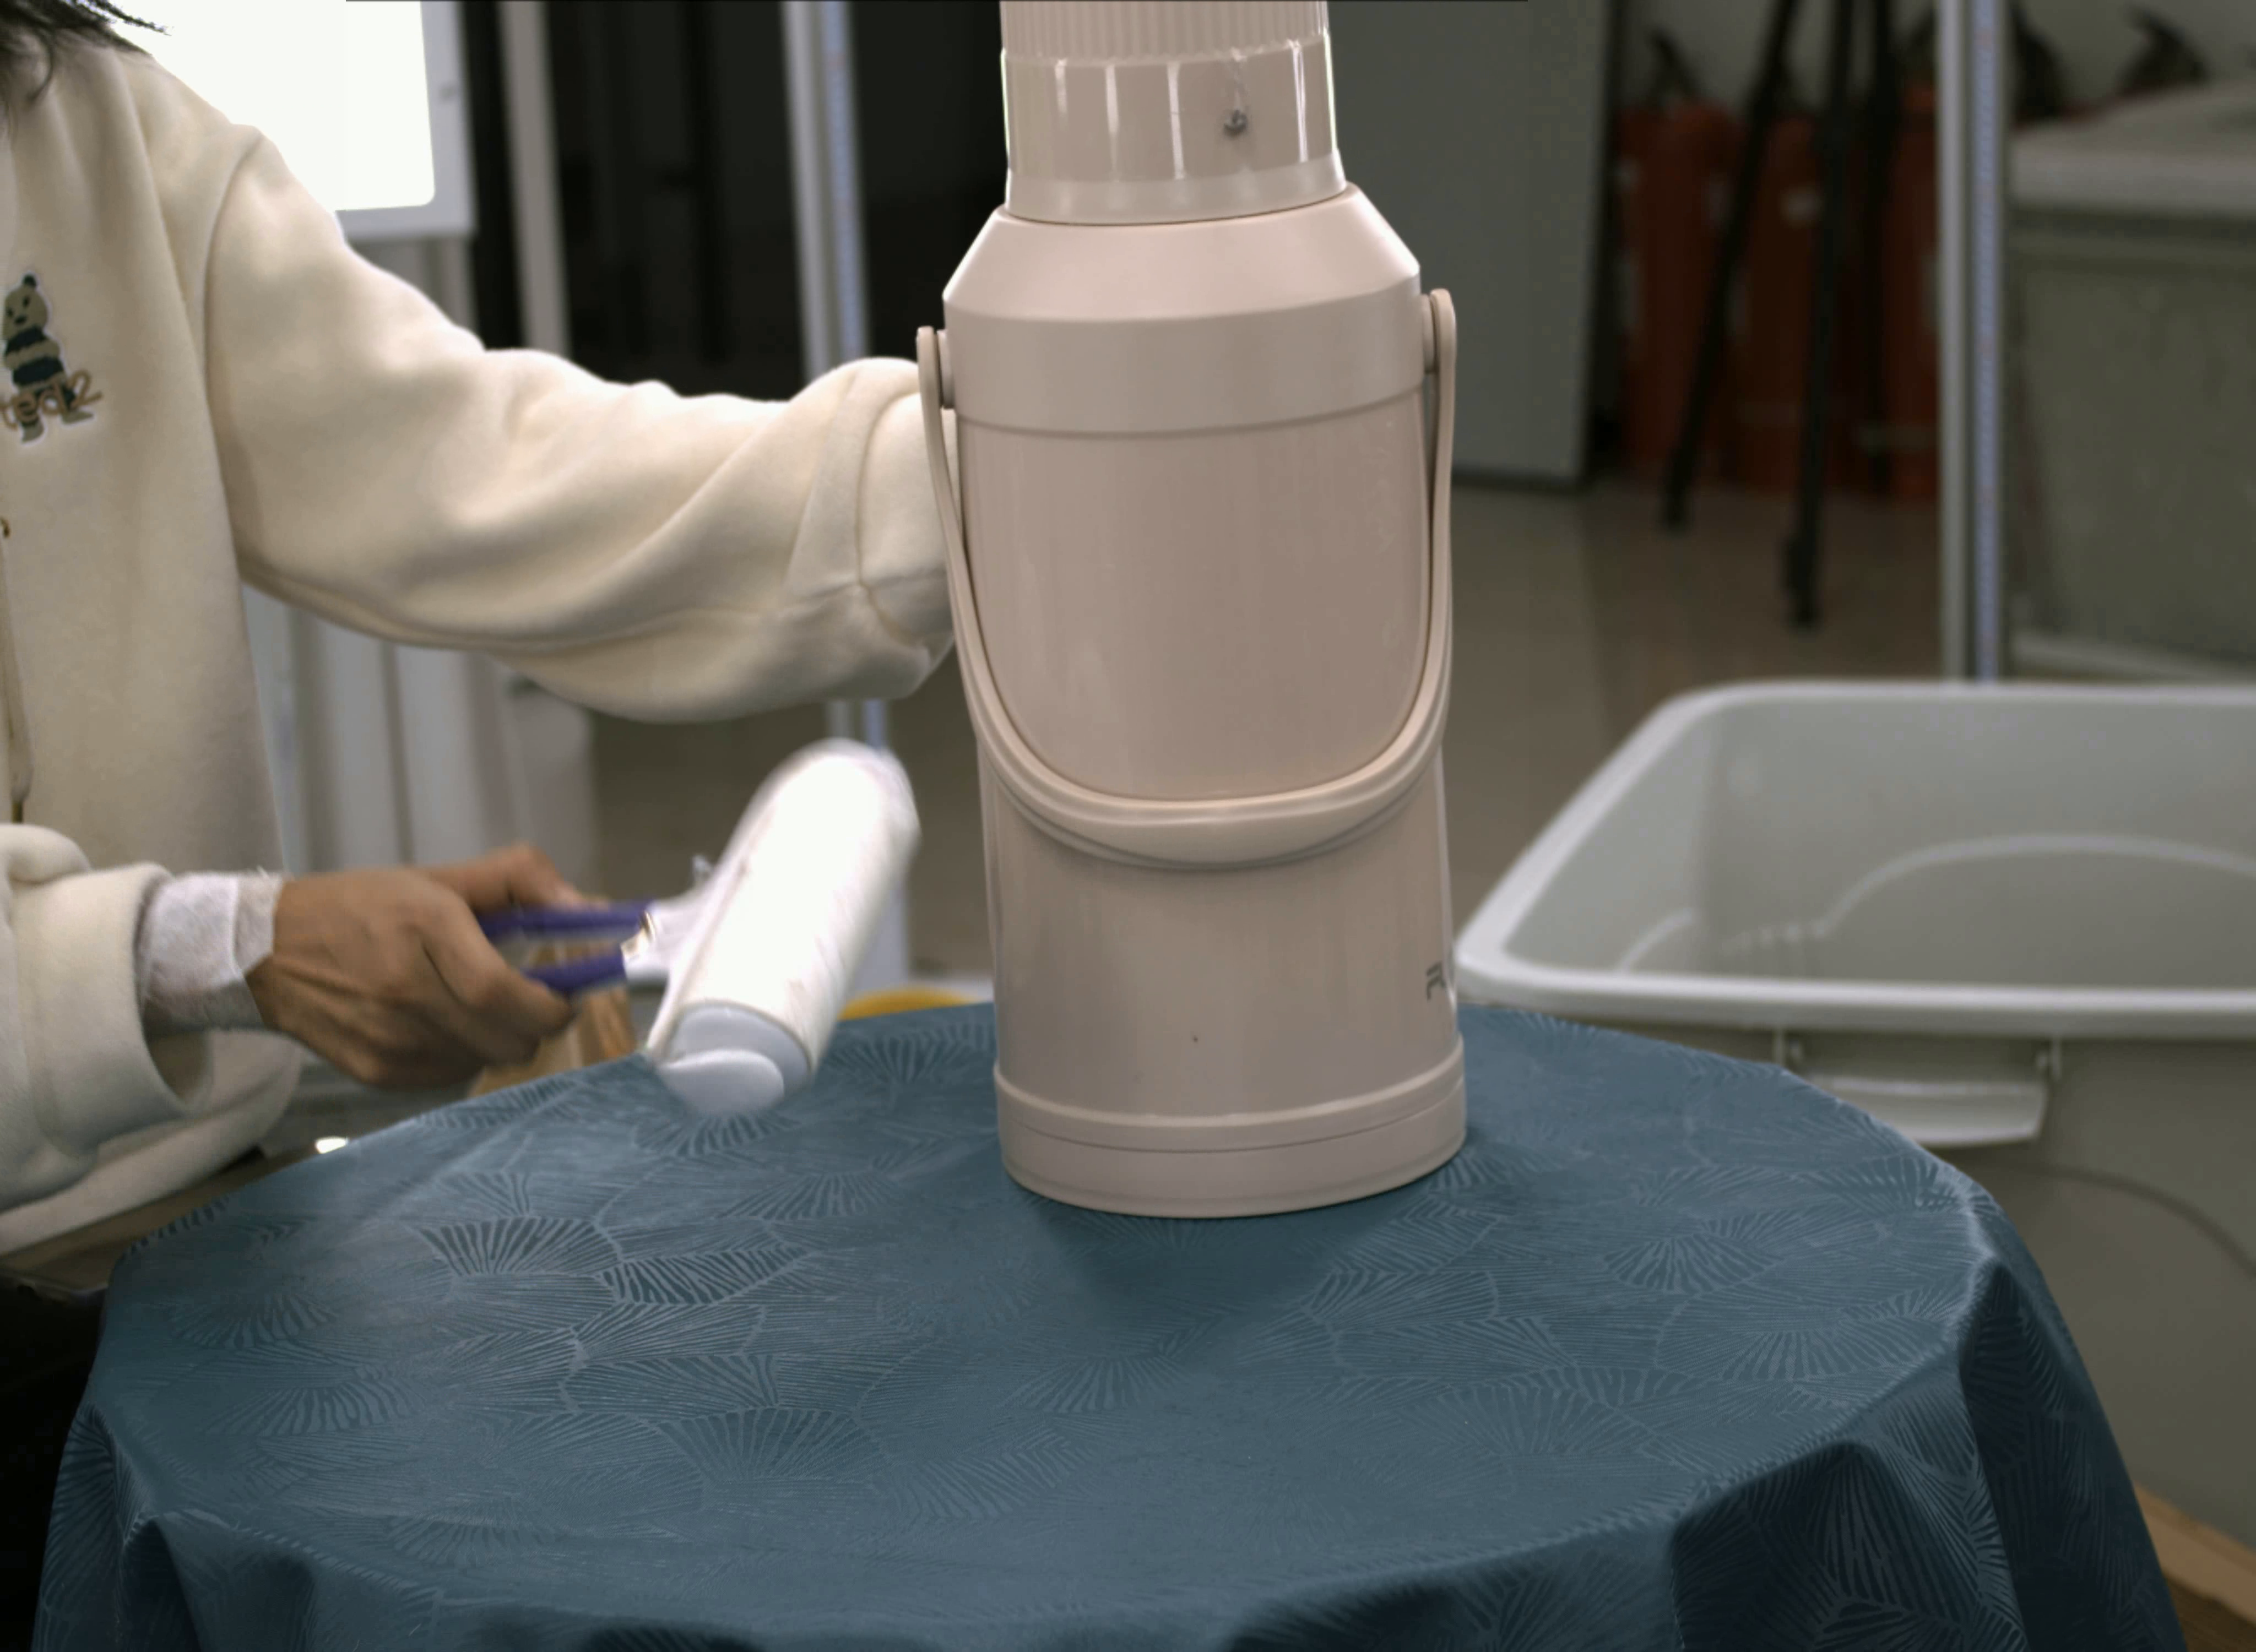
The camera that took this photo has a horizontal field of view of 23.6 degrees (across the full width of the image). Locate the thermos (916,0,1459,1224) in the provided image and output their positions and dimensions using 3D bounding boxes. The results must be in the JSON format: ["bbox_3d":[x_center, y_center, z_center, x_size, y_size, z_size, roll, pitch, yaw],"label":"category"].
[{"bbox_3d":[0.023,-0.088,1.778,0.173,0.411,0.207,-5,13,-2],"label":"thermos"}]

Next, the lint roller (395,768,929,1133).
[{"bbox_3d":[-0.156,0.035,1.672,0.181,0.050,0.133,2,46,28],"label":"lint roller"}]
